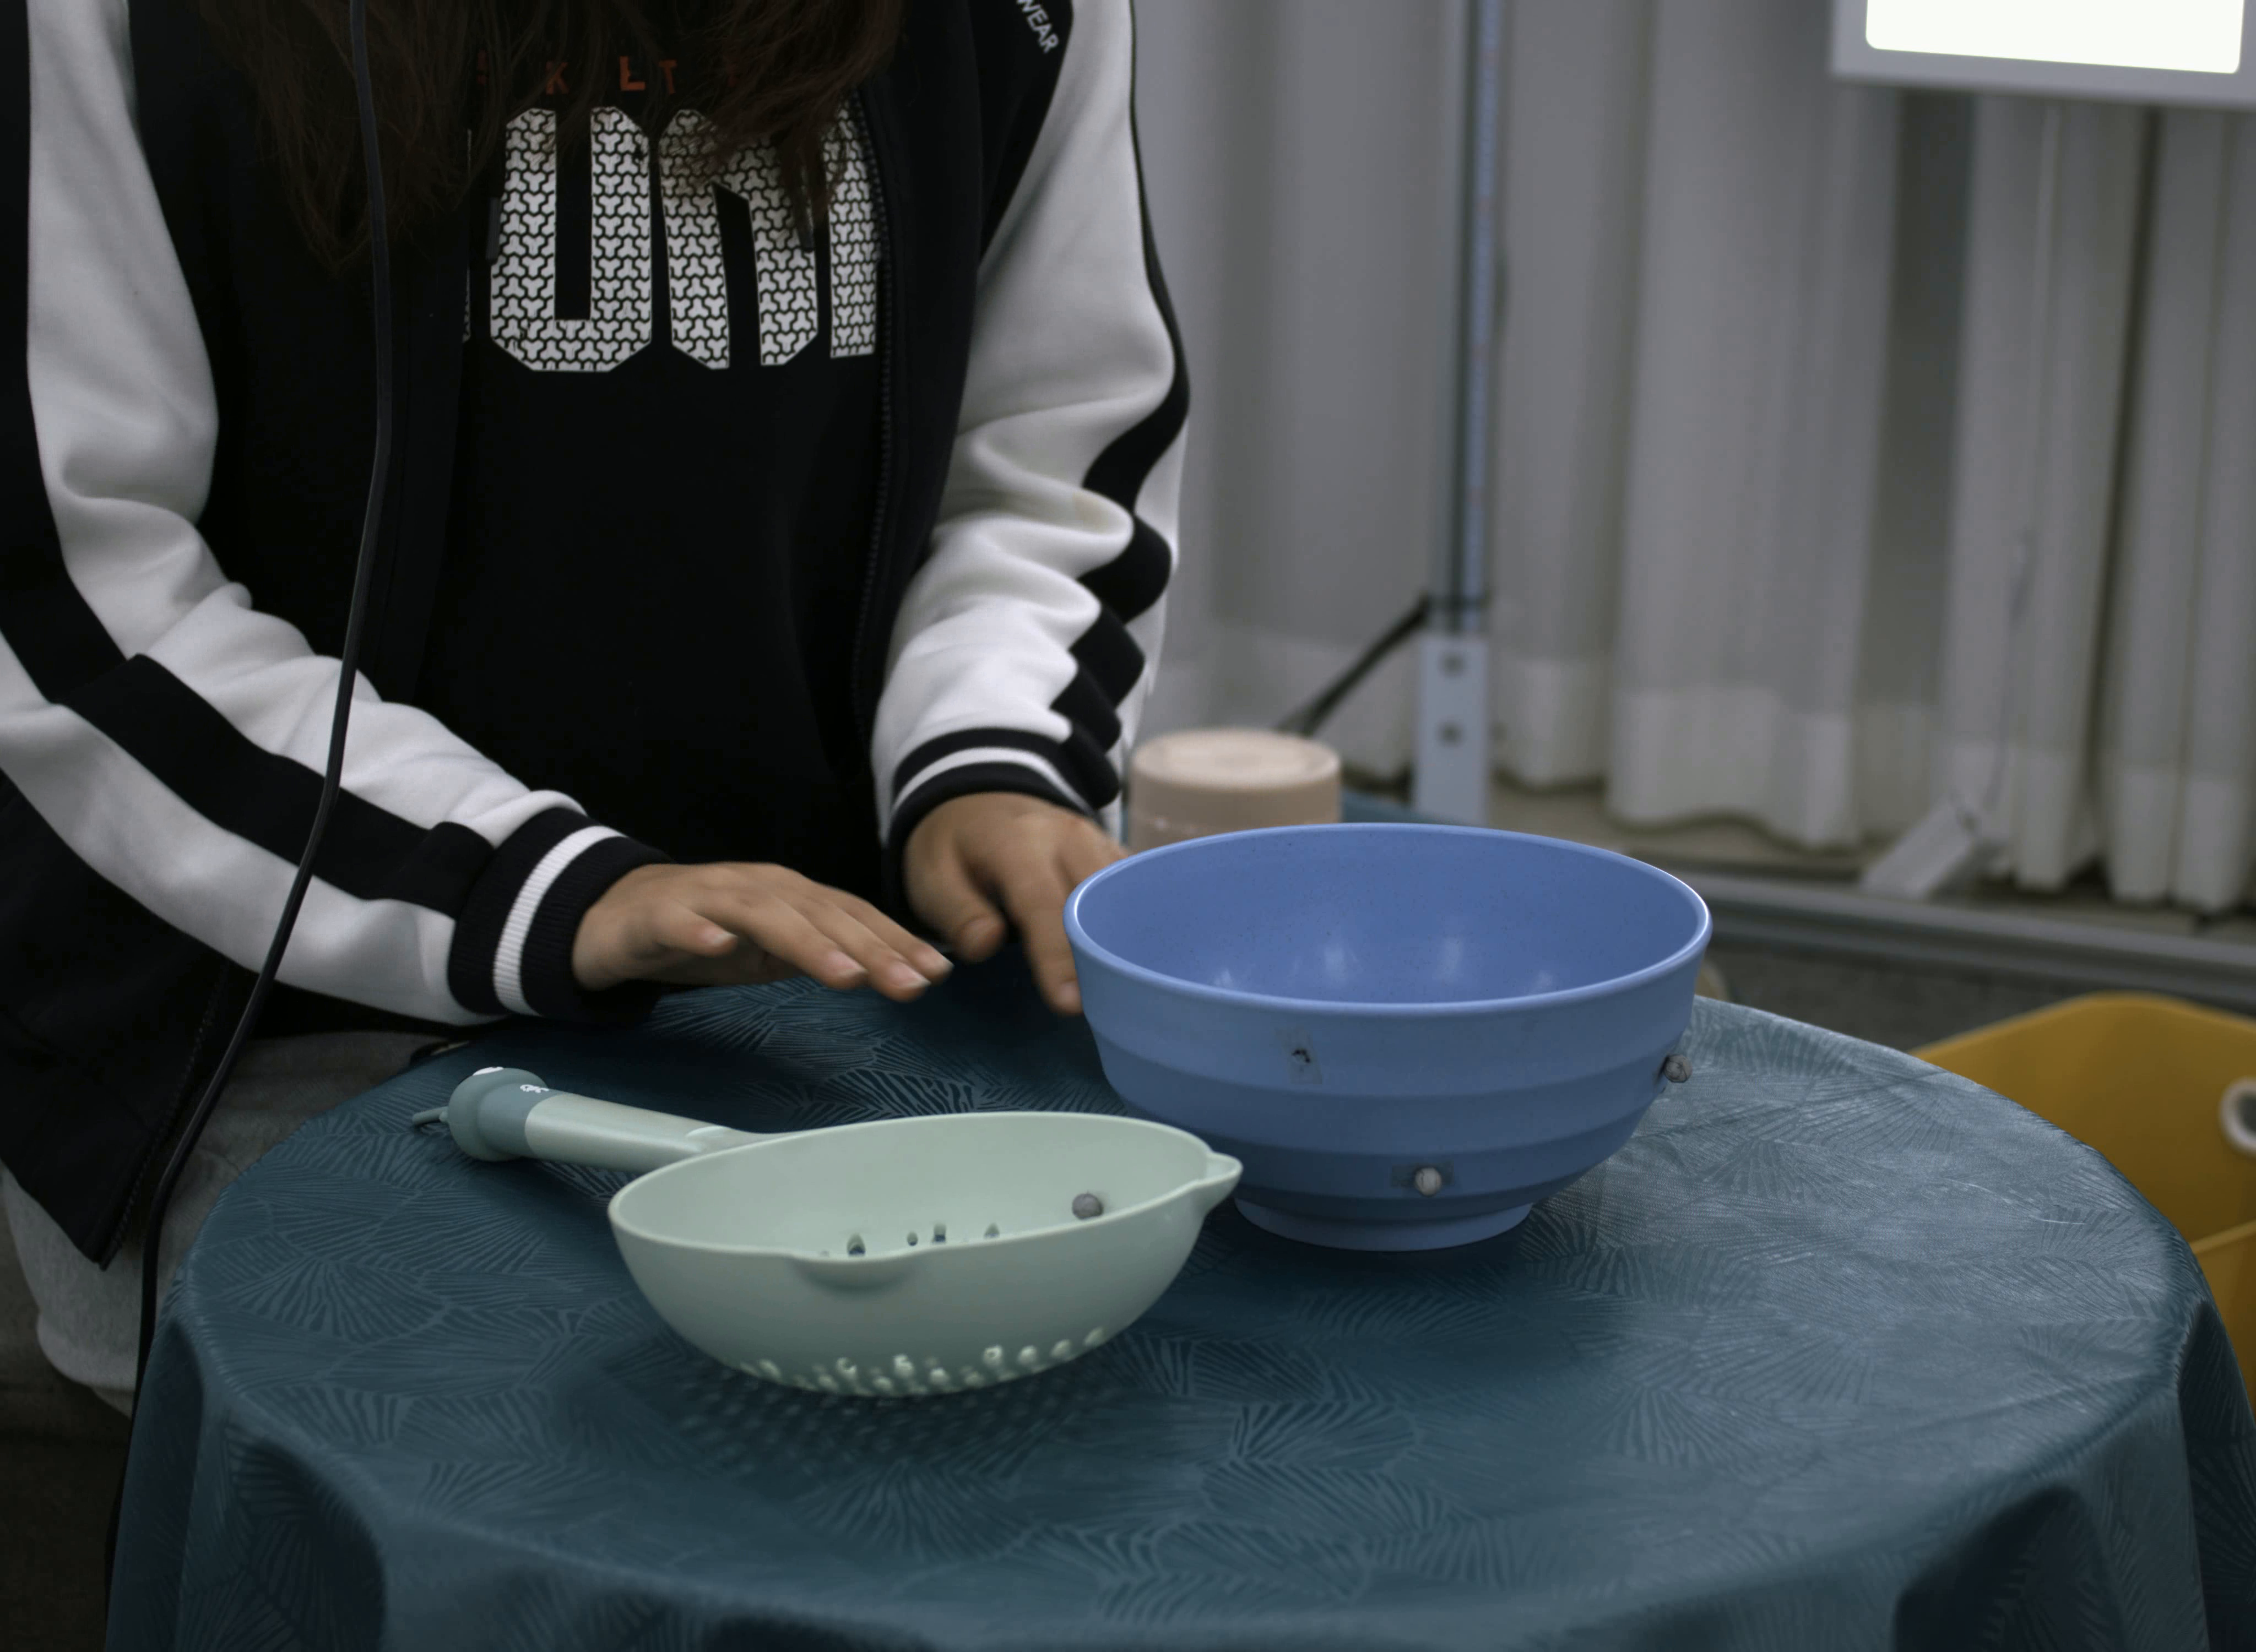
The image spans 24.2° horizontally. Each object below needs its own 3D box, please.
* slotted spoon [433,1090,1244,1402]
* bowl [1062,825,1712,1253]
[{"bbox_3d":[-0.115,0.105,1.535,0.170,0.076,0.354,-10,17,-35],"label":"slotted spoon"},{"bbox_3d":[0.078,0.070,1.599,0.196,0.096,0.195,0,16,1],"label":"bowl"}]
